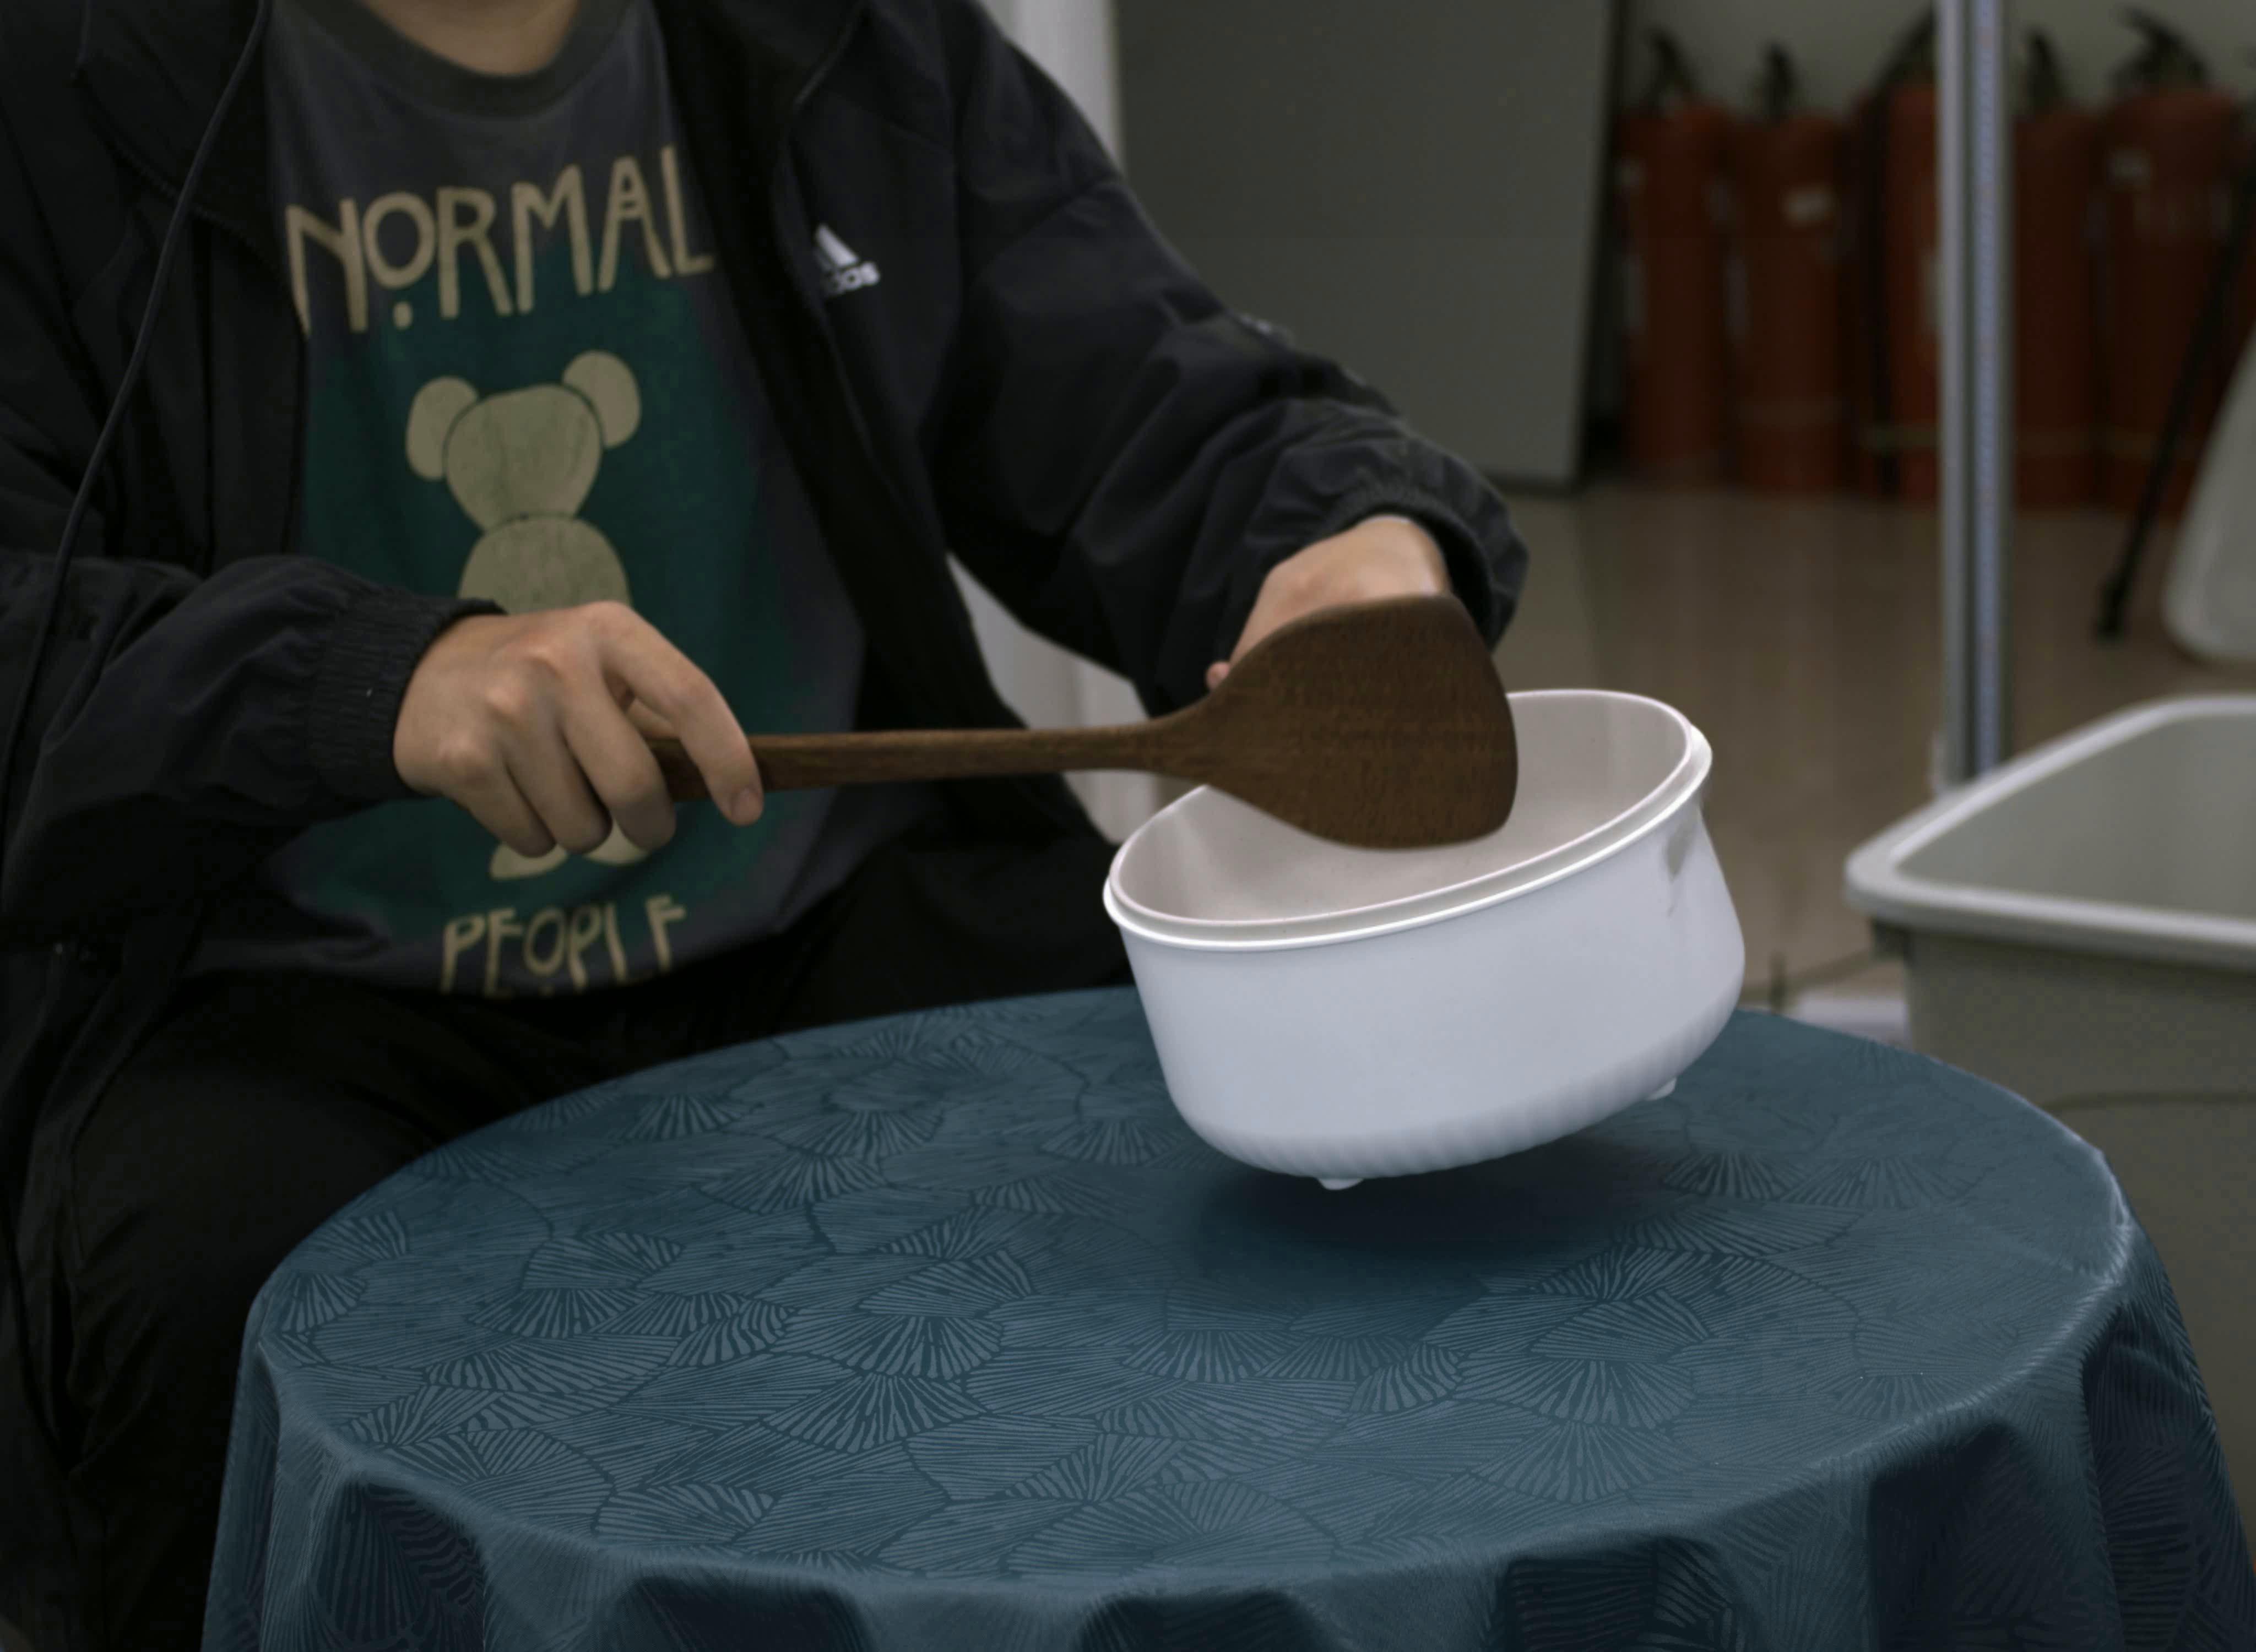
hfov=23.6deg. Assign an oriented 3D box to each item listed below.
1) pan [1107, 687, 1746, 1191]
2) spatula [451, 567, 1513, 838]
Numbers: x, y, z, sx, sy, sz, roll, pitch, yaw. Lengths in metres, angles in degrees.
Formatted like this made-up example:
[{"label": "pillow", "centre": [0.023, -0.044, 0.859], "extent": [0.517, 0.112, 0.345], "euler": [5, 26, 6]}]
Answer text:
[{"label": "pan", "centre": [0.093, 0.020, 1.811], "extent": [0.199, 0.103, 0.356], "euler": [-17, 15, -1]}, {"label": "spatula", "centre": [-0.056, -0.028, 1.808], "extent": [0.386, 0.096, 0.016], "euler": [-4, 29, 23]}]
